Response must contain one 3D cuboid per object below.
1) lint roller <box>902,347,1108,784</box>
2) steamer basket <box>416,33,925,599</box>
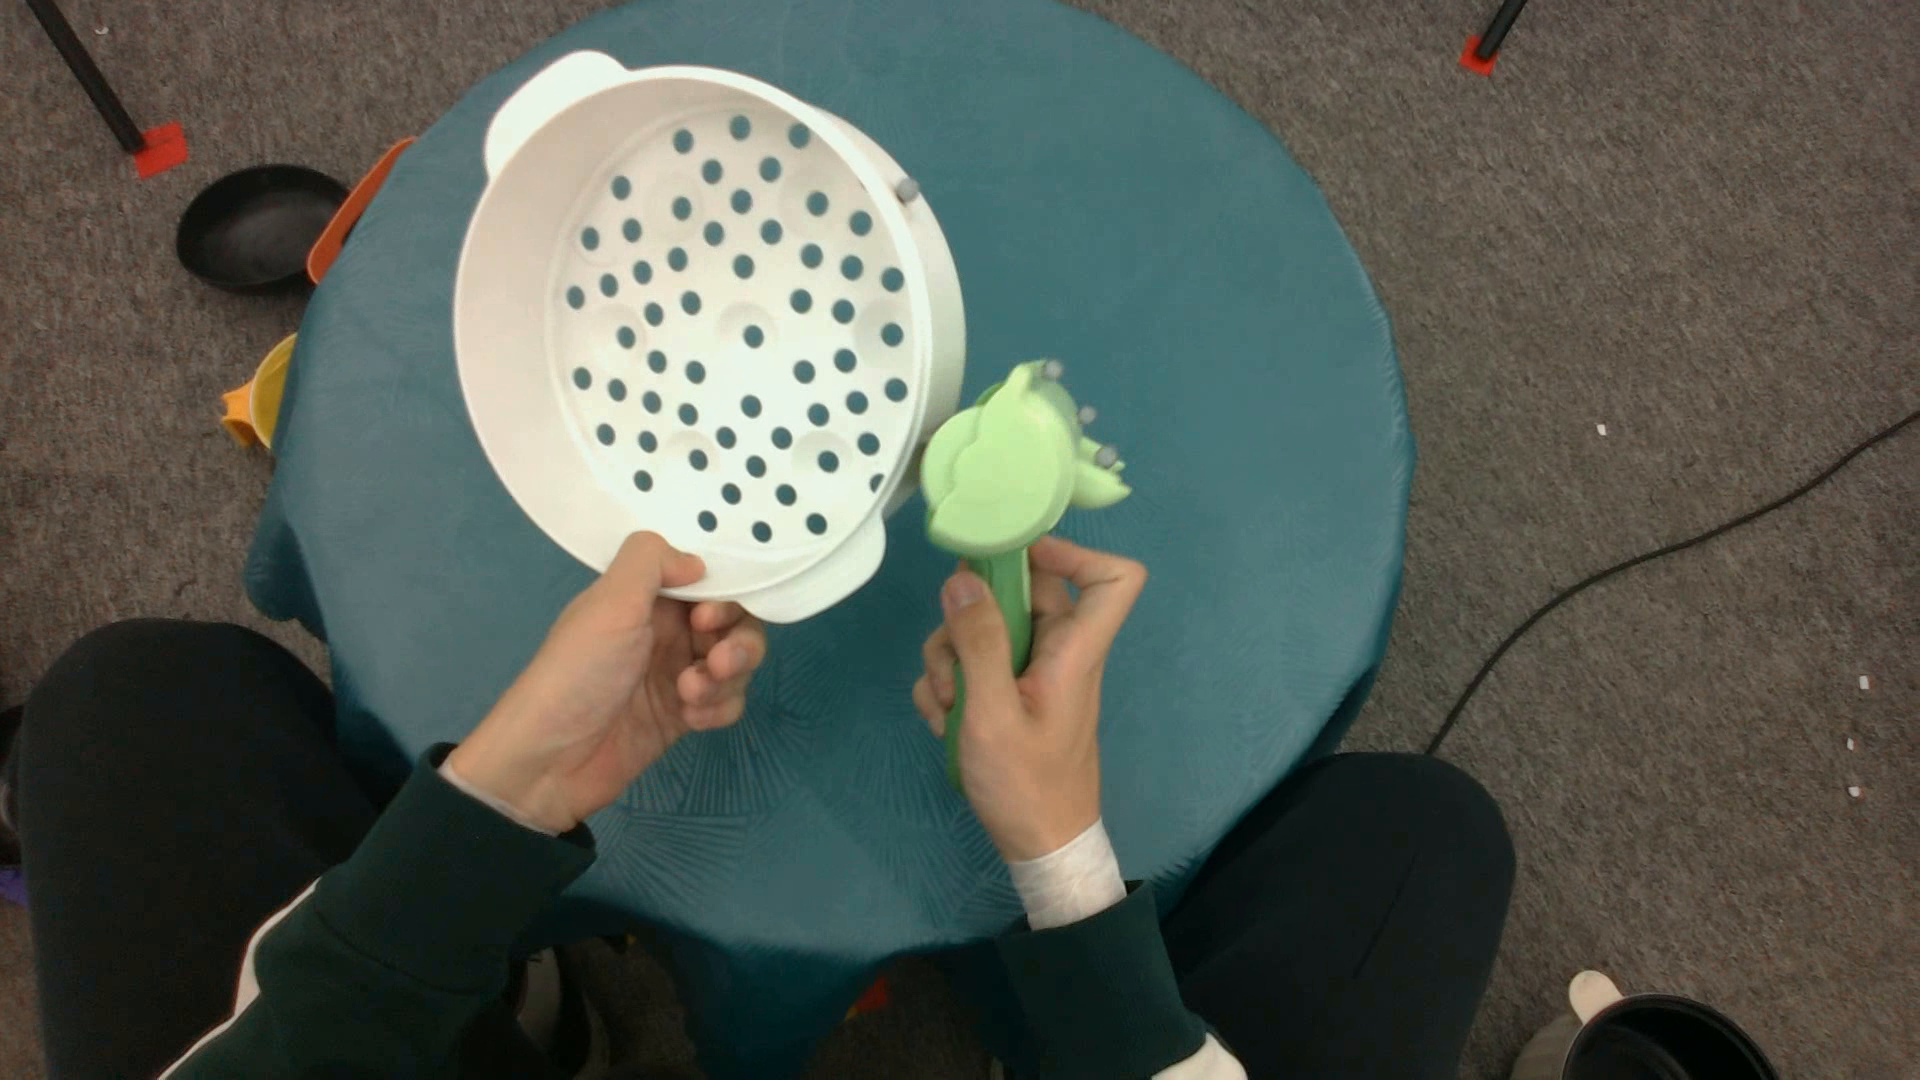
[{"bbox_3d":[0.022,0.012,0.578,0.082,0.199,0.183,-5,98,5],"label":"lint roller"},{"bbox_3d":[-0.112,-0.089,0.547,0.201,0.069,0.230,-32,90,20],"label":"steamer basket"}]
